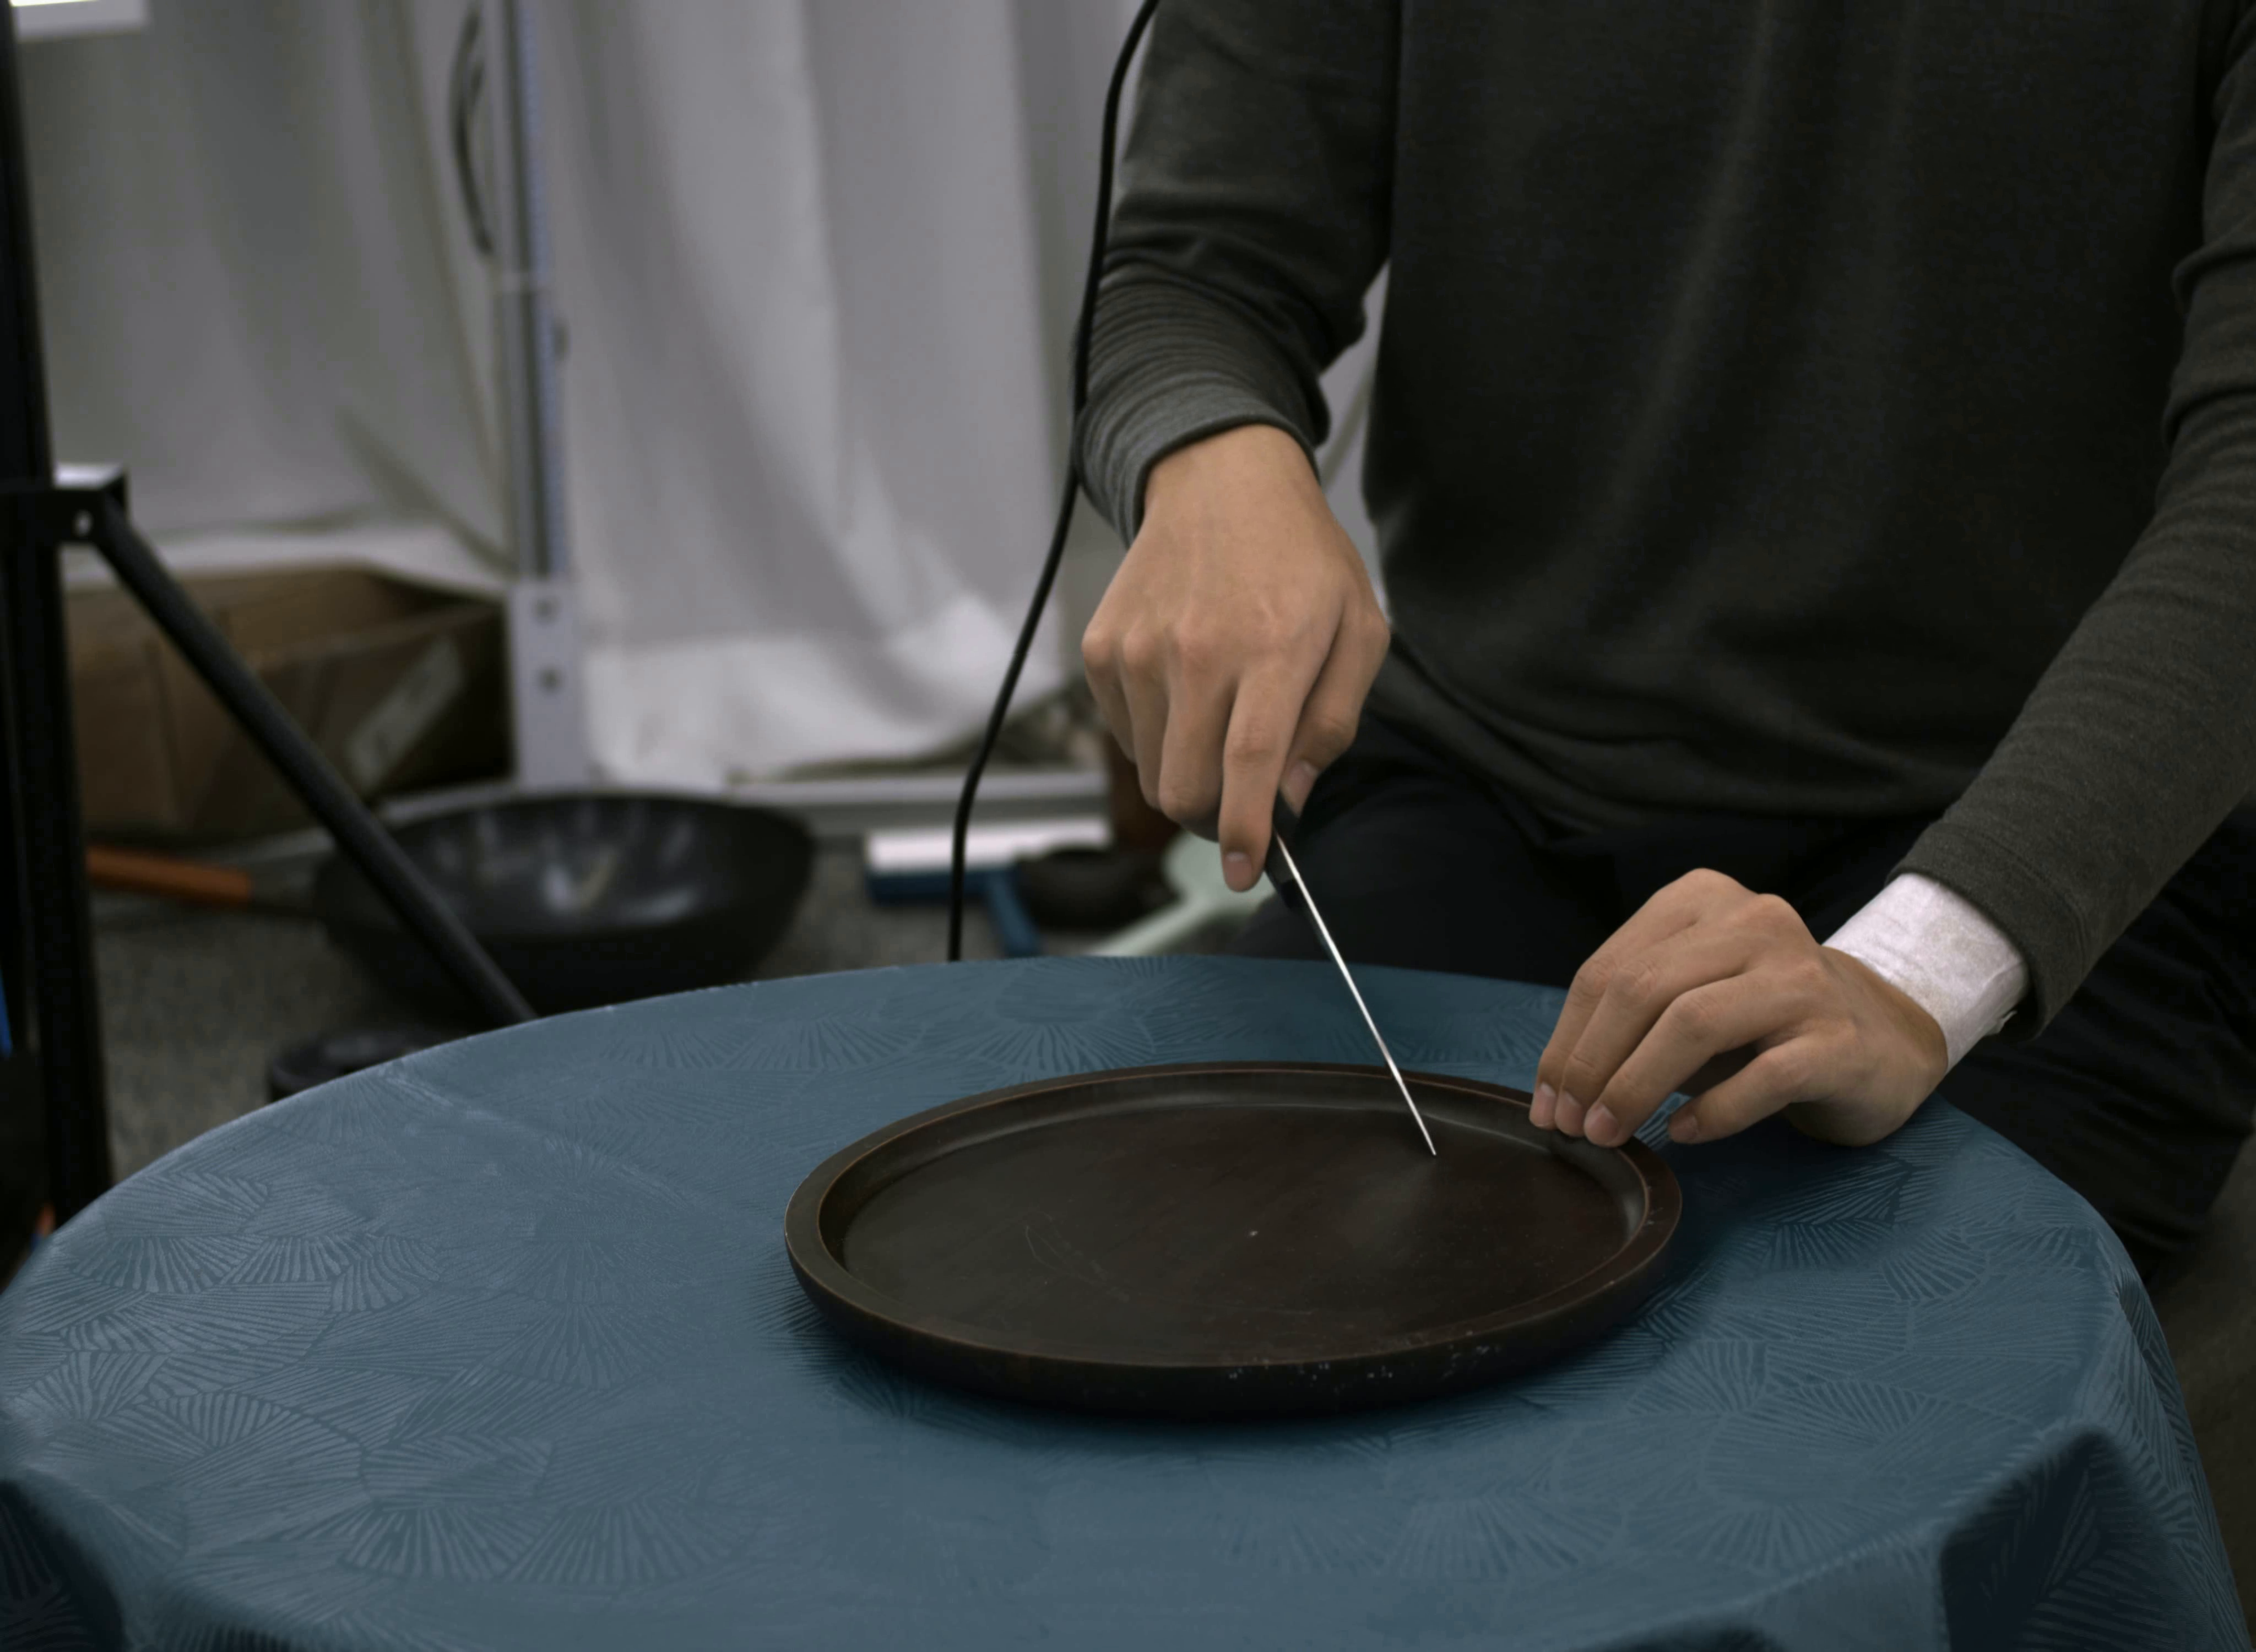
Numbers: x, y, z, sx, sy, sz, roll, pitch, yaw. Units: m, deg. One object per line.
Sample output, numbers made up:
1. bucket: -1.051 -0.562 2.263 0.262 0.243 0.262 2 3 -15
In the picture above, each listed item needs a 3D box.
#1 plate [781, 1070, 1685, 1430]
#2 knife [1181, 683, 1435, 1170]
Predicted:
1. plate: 0.029 0.116 1.490 0.253 0.029 0.256 -3 17 -1
2. knife: 0.056 0.027 1.635 0.016 0.024 0.242 -20 40 -4
